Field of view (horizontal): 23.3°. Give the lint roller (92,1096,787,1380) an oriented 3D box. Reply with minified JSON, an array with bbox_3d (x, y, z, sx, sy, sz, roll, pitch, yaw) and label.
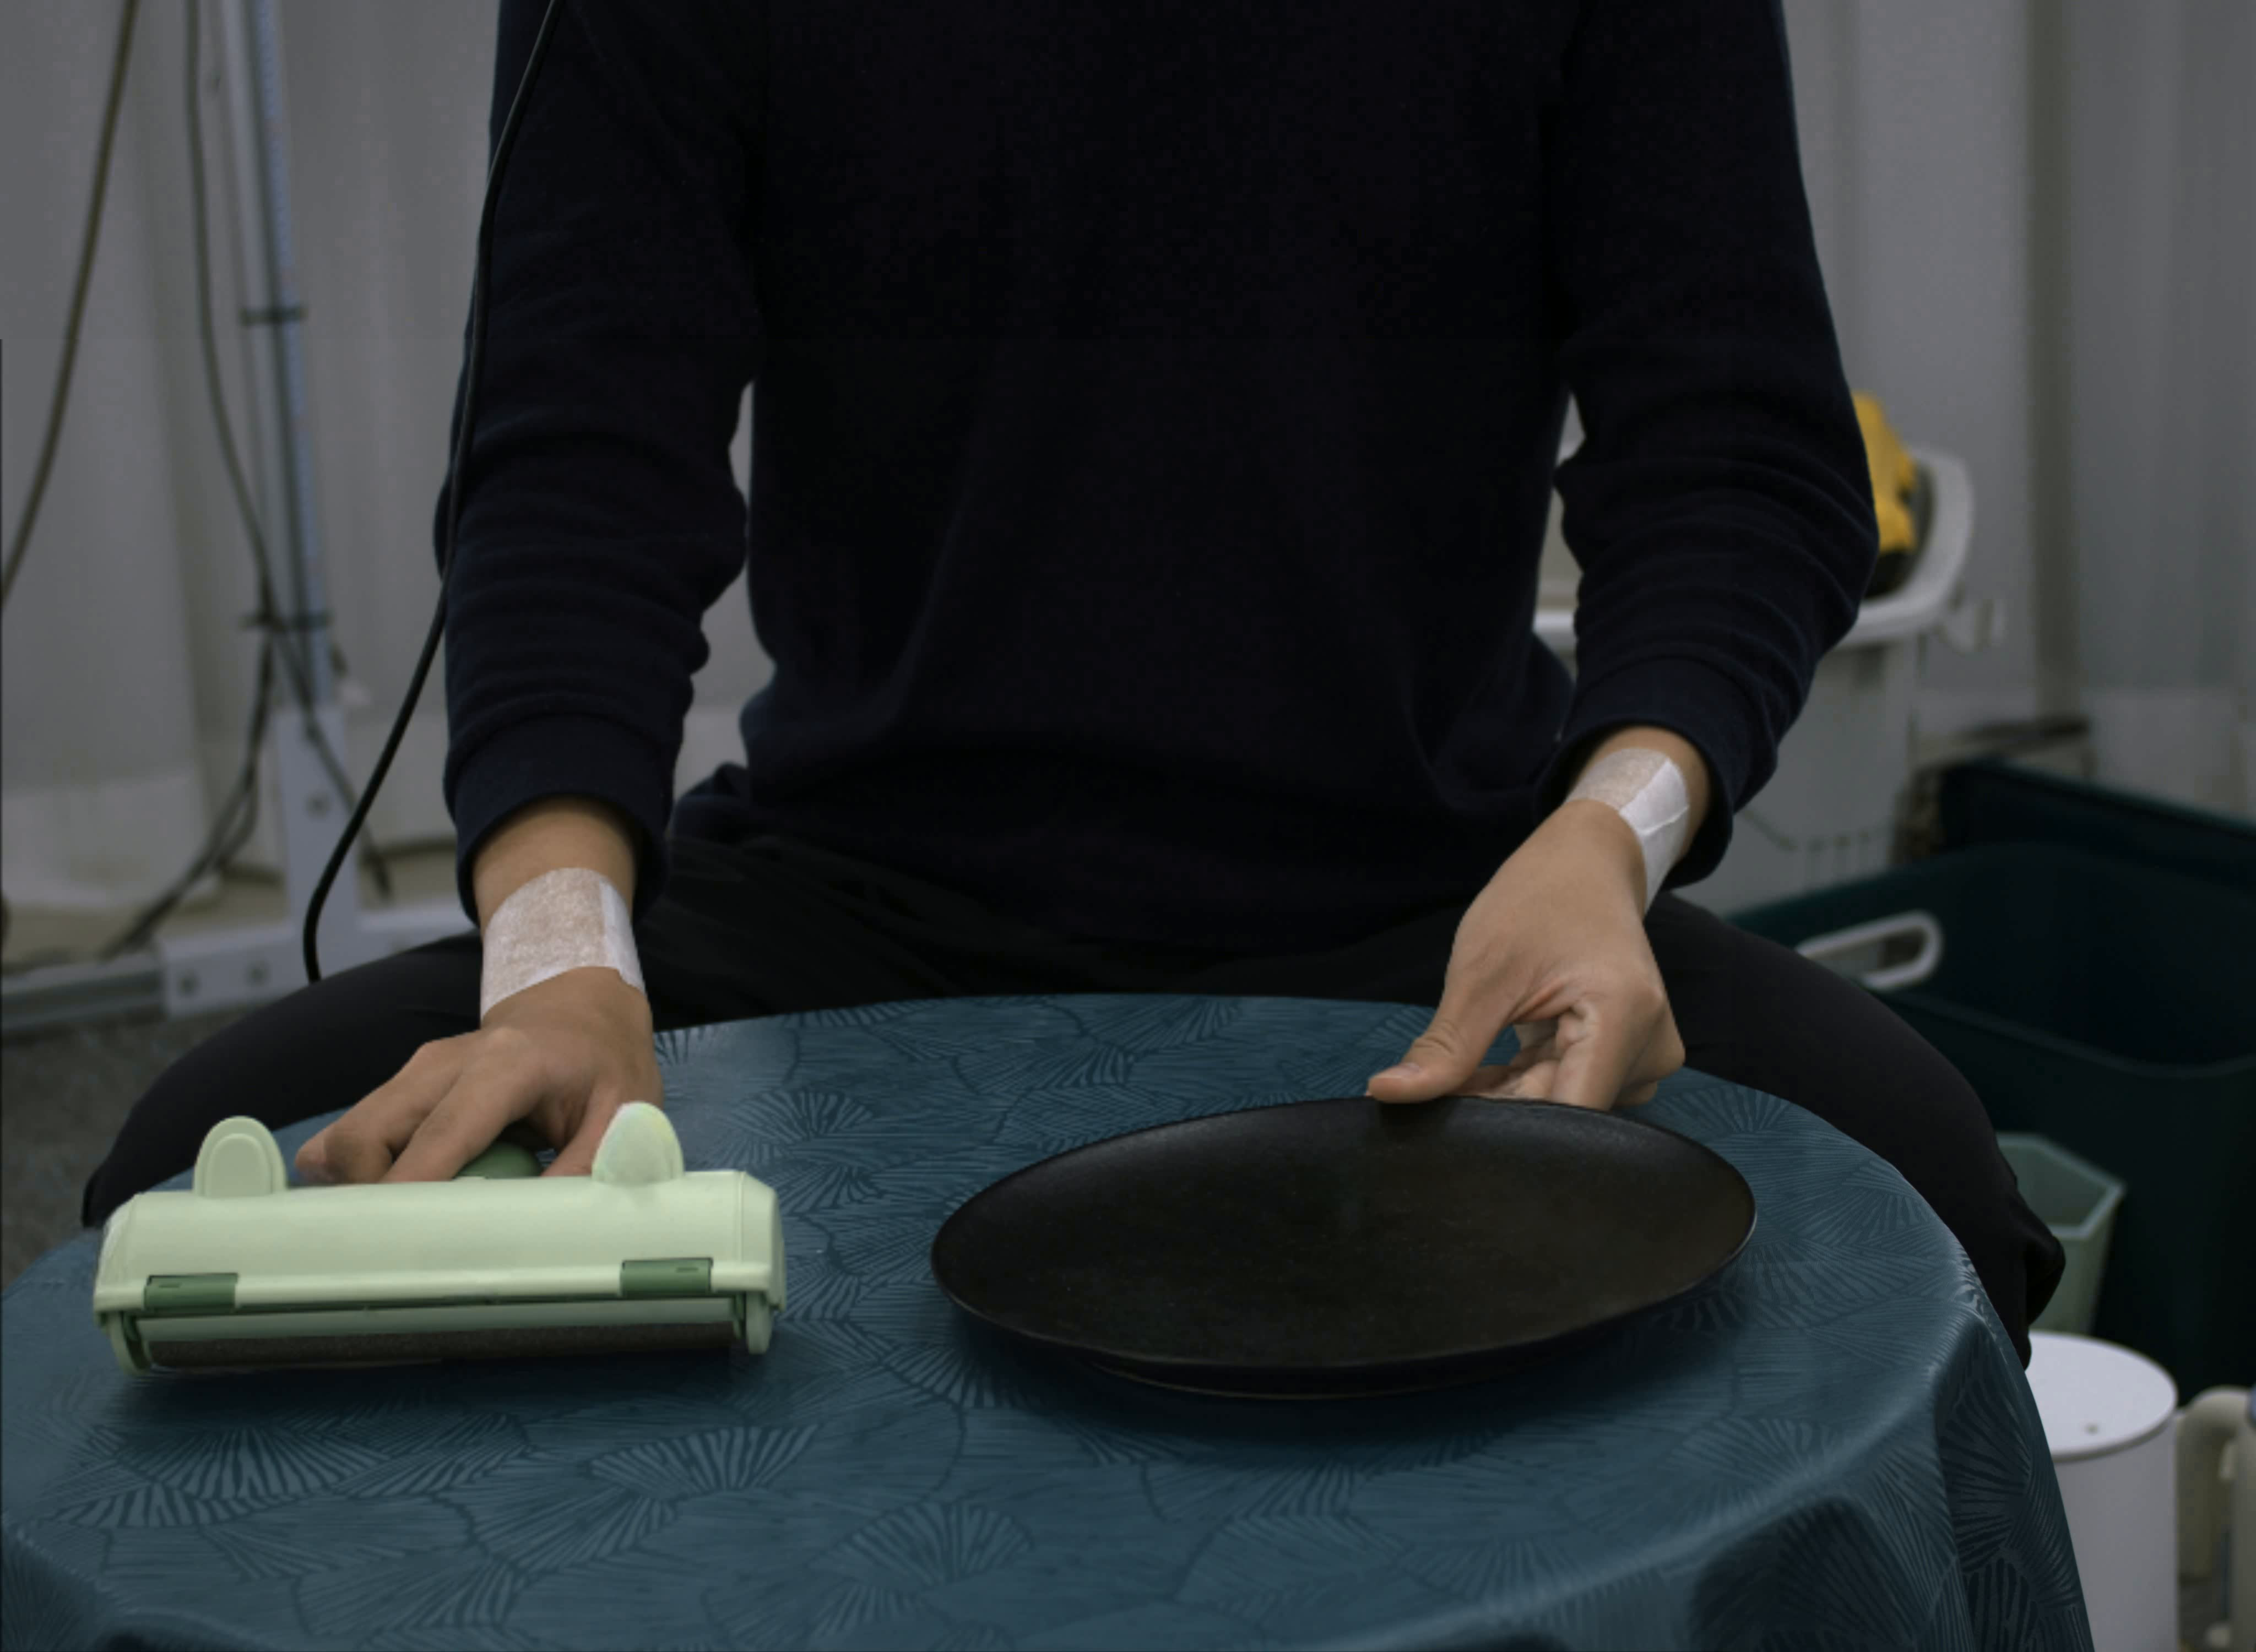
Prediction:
[{"bbox_3d":[-0.199,0.102,1.635,0.198,0.081,0.185,-2,21,0],"label":"lint roller"}]

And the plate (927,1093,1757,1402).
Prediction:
[{"bbox_3d":[0.063,0.126,1.605,0.243,0.023,0.246,-4,15,1],"label":"plate"}]
